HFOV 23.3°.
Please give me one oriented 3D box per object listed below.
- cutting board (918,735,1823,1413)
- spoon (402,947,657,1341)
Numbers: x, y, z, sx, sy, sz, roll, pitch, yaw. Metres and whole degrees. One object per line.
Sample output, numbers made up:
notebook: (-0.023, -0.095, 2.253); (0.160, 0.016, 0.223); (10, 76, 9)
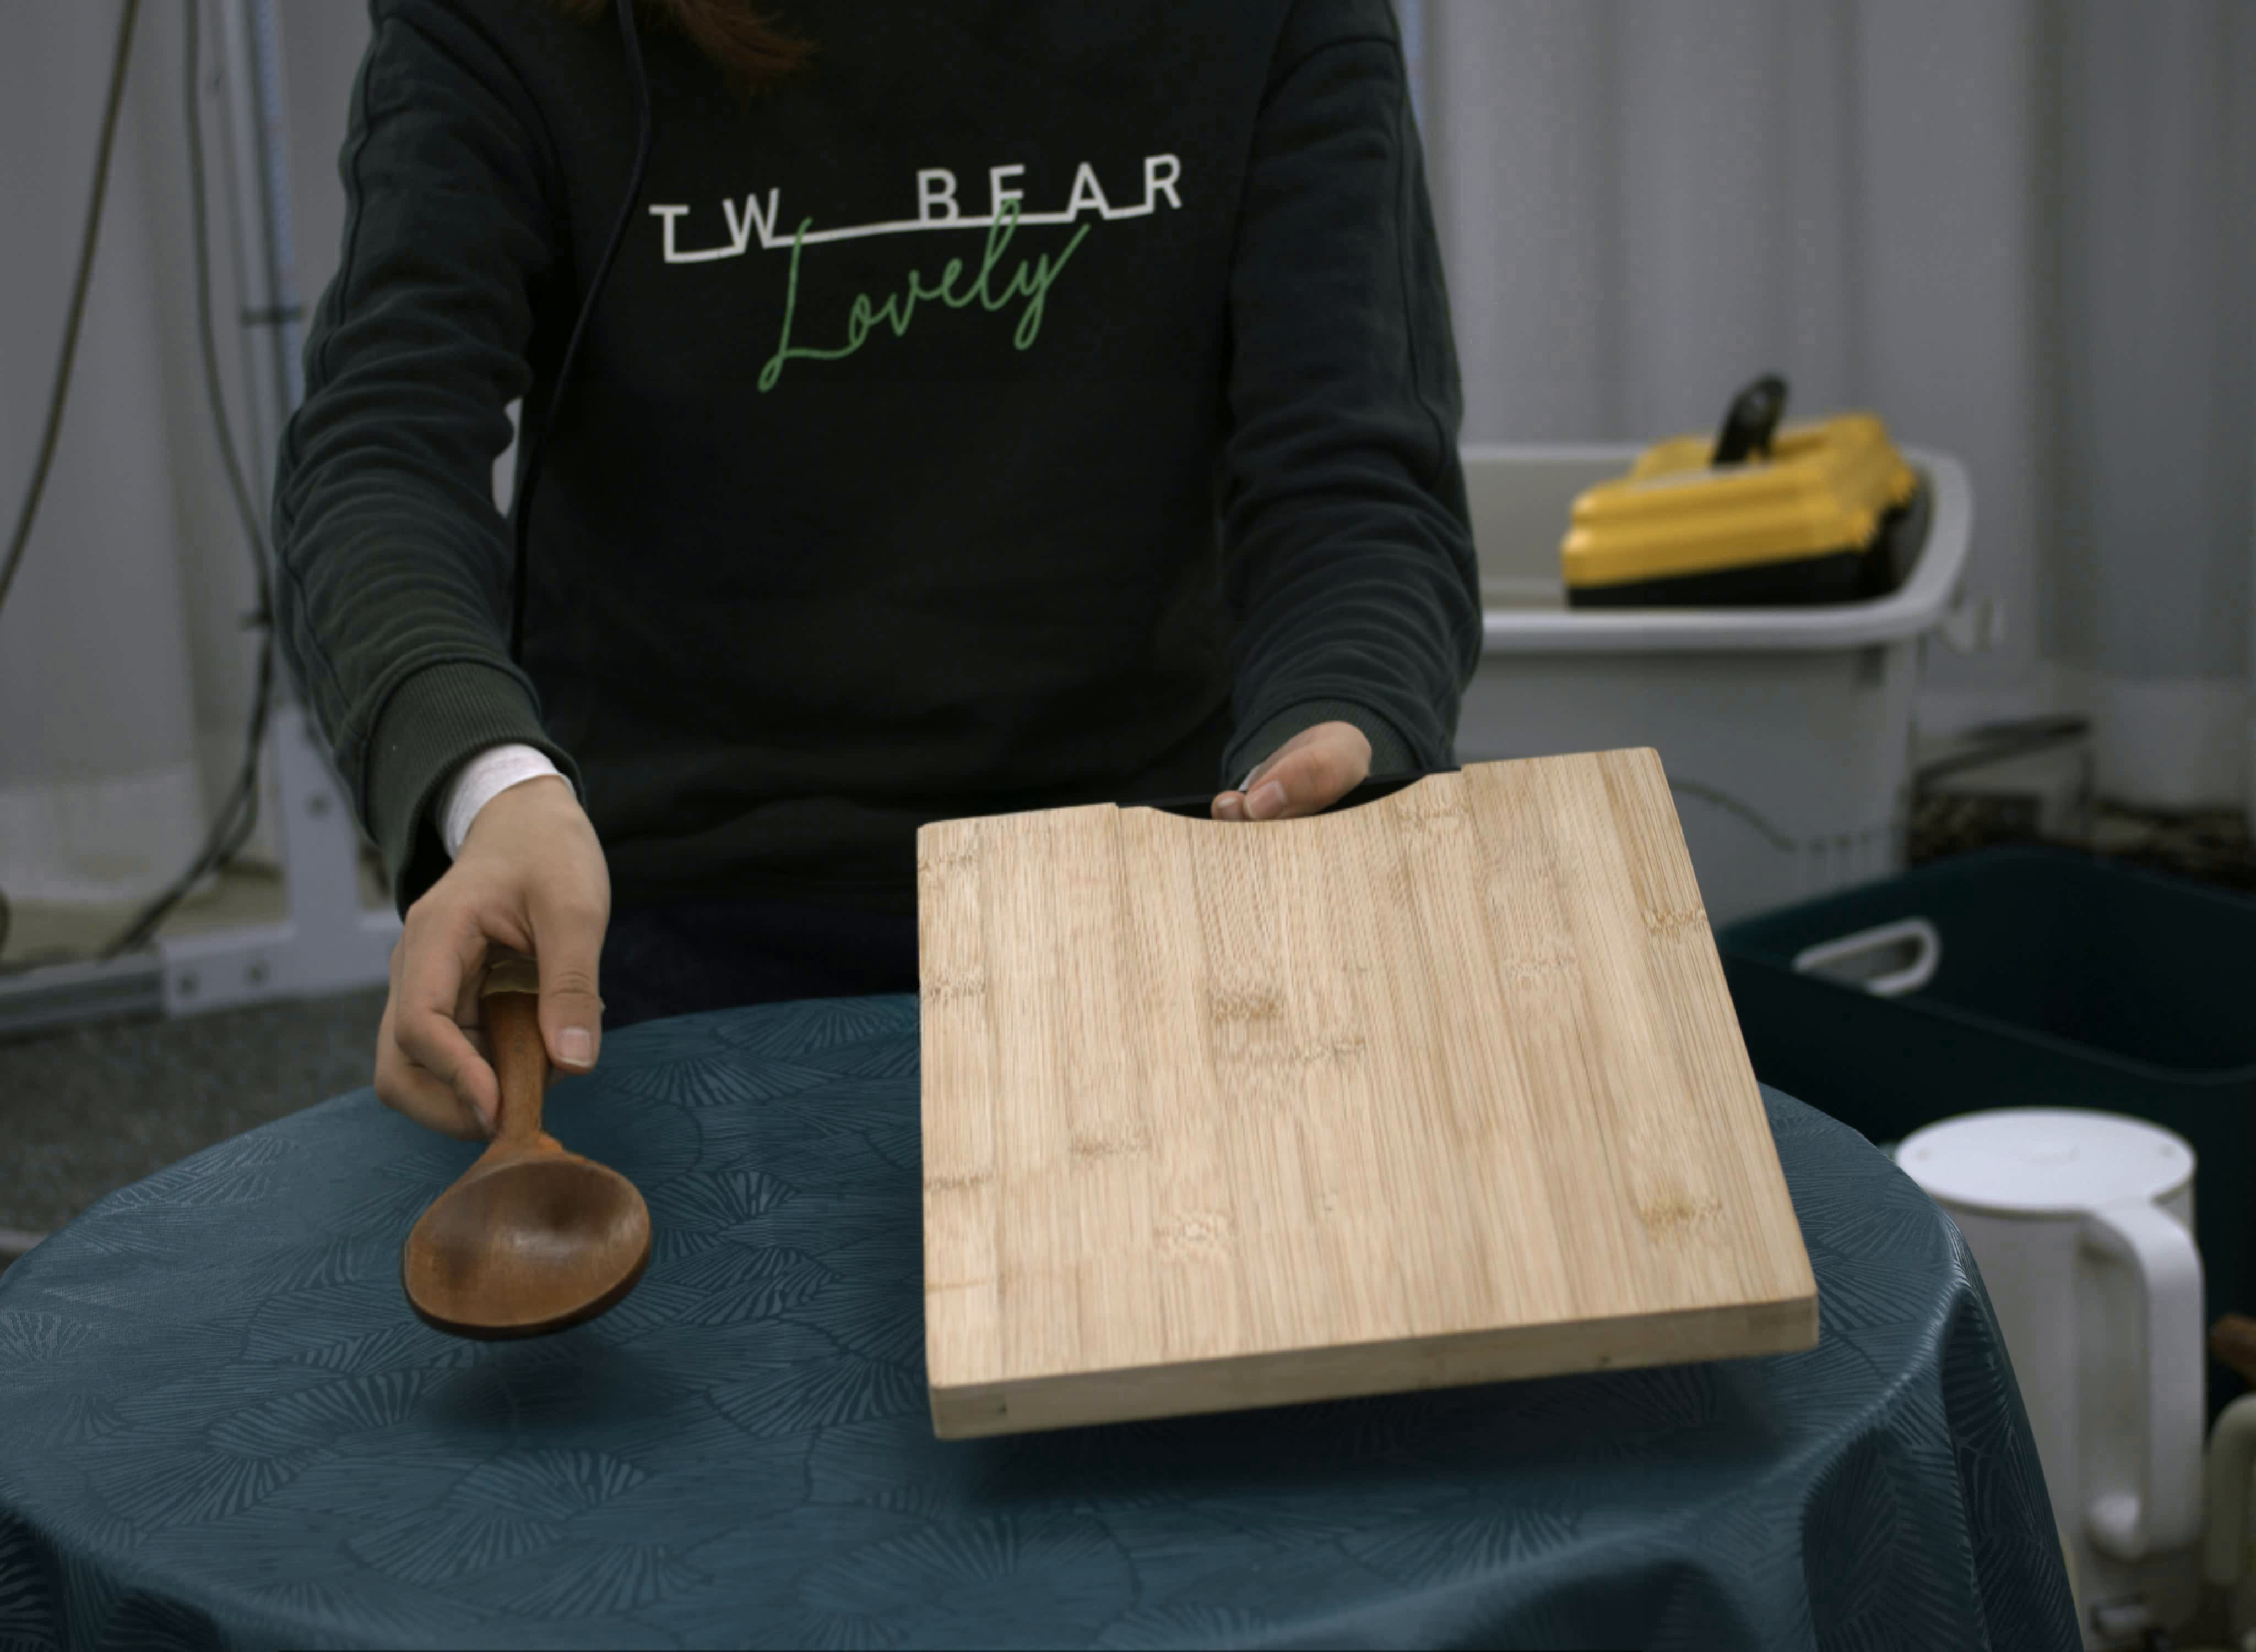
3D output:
cutting board: (0.060, 0.067, 1.614); (0.250, 0.023, 0.353); (-6, 26, -1)
spoon: (-0.178, 0.094, 1.623); (0.075, 0.017, 0.218); (-12, 29, -1)
